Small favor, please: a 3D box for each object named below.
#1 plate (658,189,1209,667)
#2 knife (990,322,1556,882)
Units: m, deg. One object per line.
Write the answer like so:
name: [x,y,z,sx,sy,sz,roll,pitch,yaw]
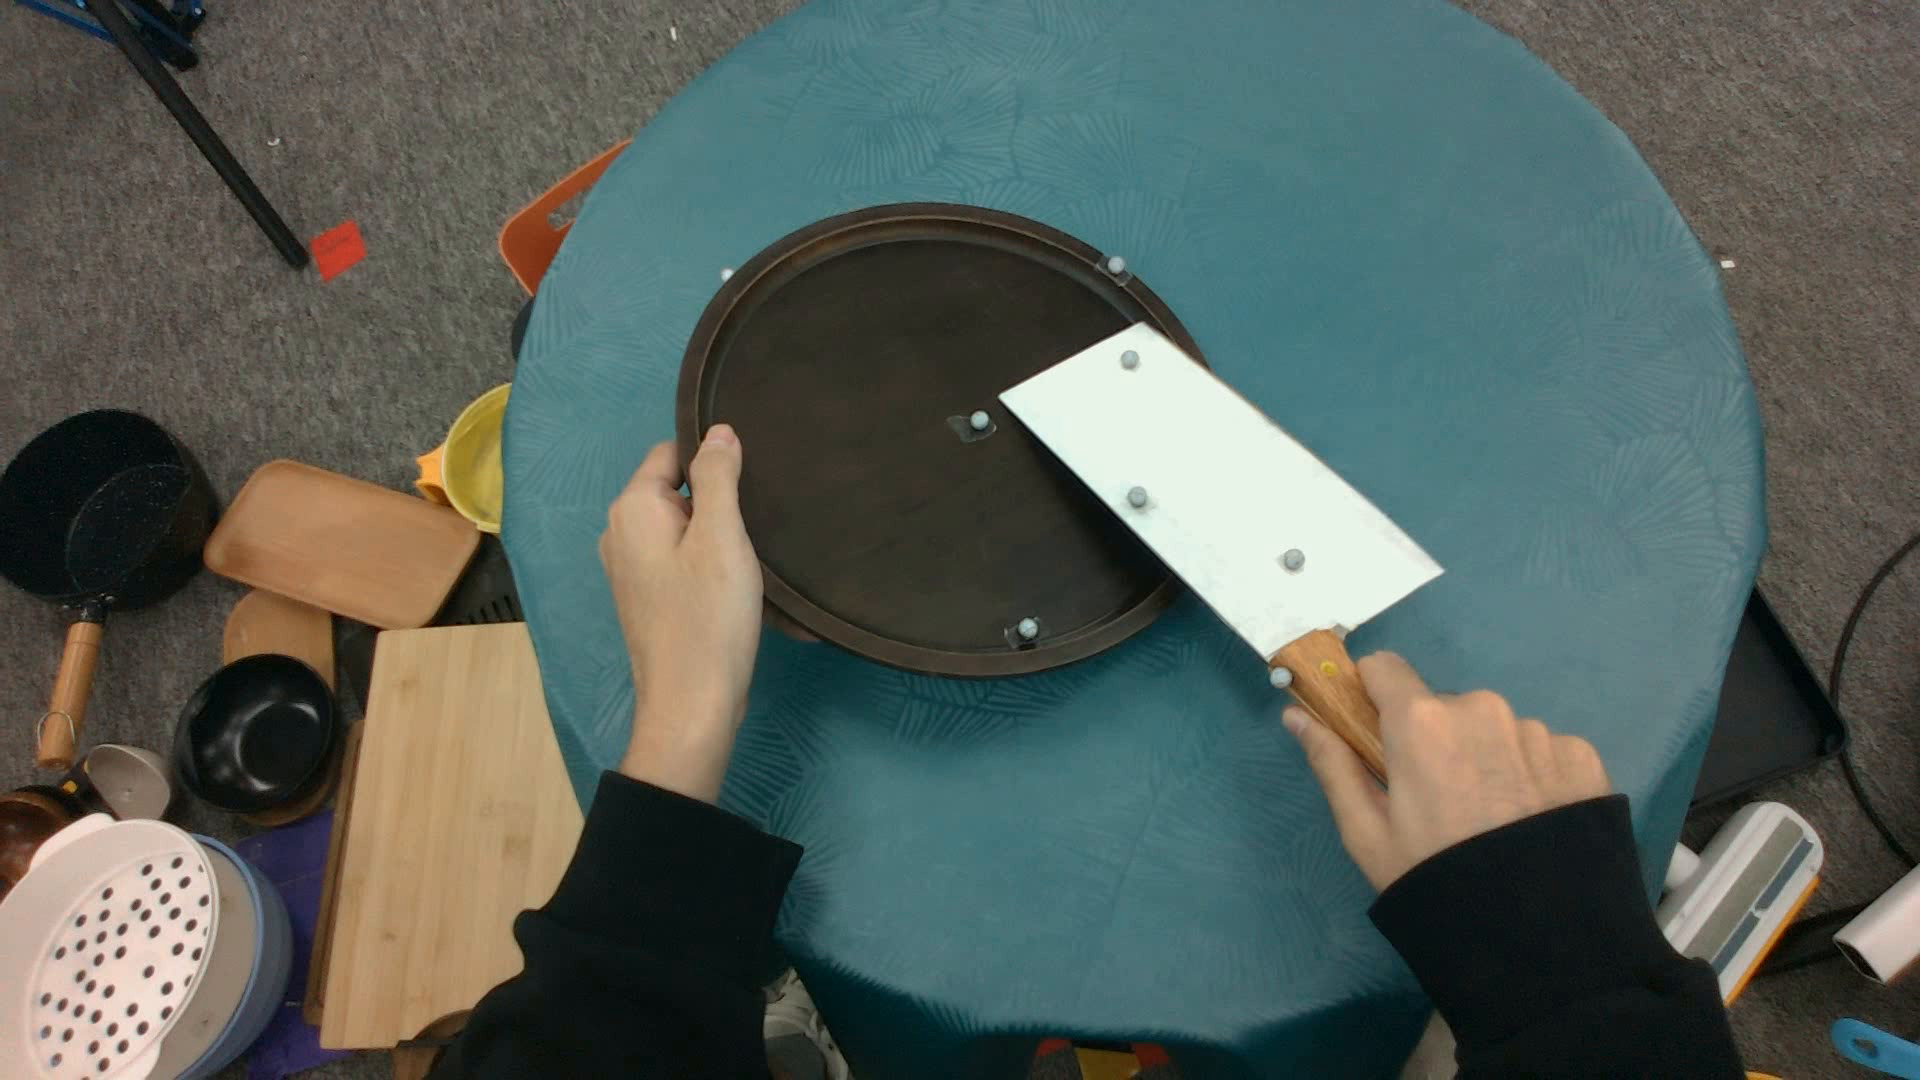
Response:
plate: [-0.007,-0.057,0.623,0.255,0.029,0.256,6,59,-9]
knife: [0.134,0.004,0.570,0.093,0.021,0.306,-30,57,-19]
